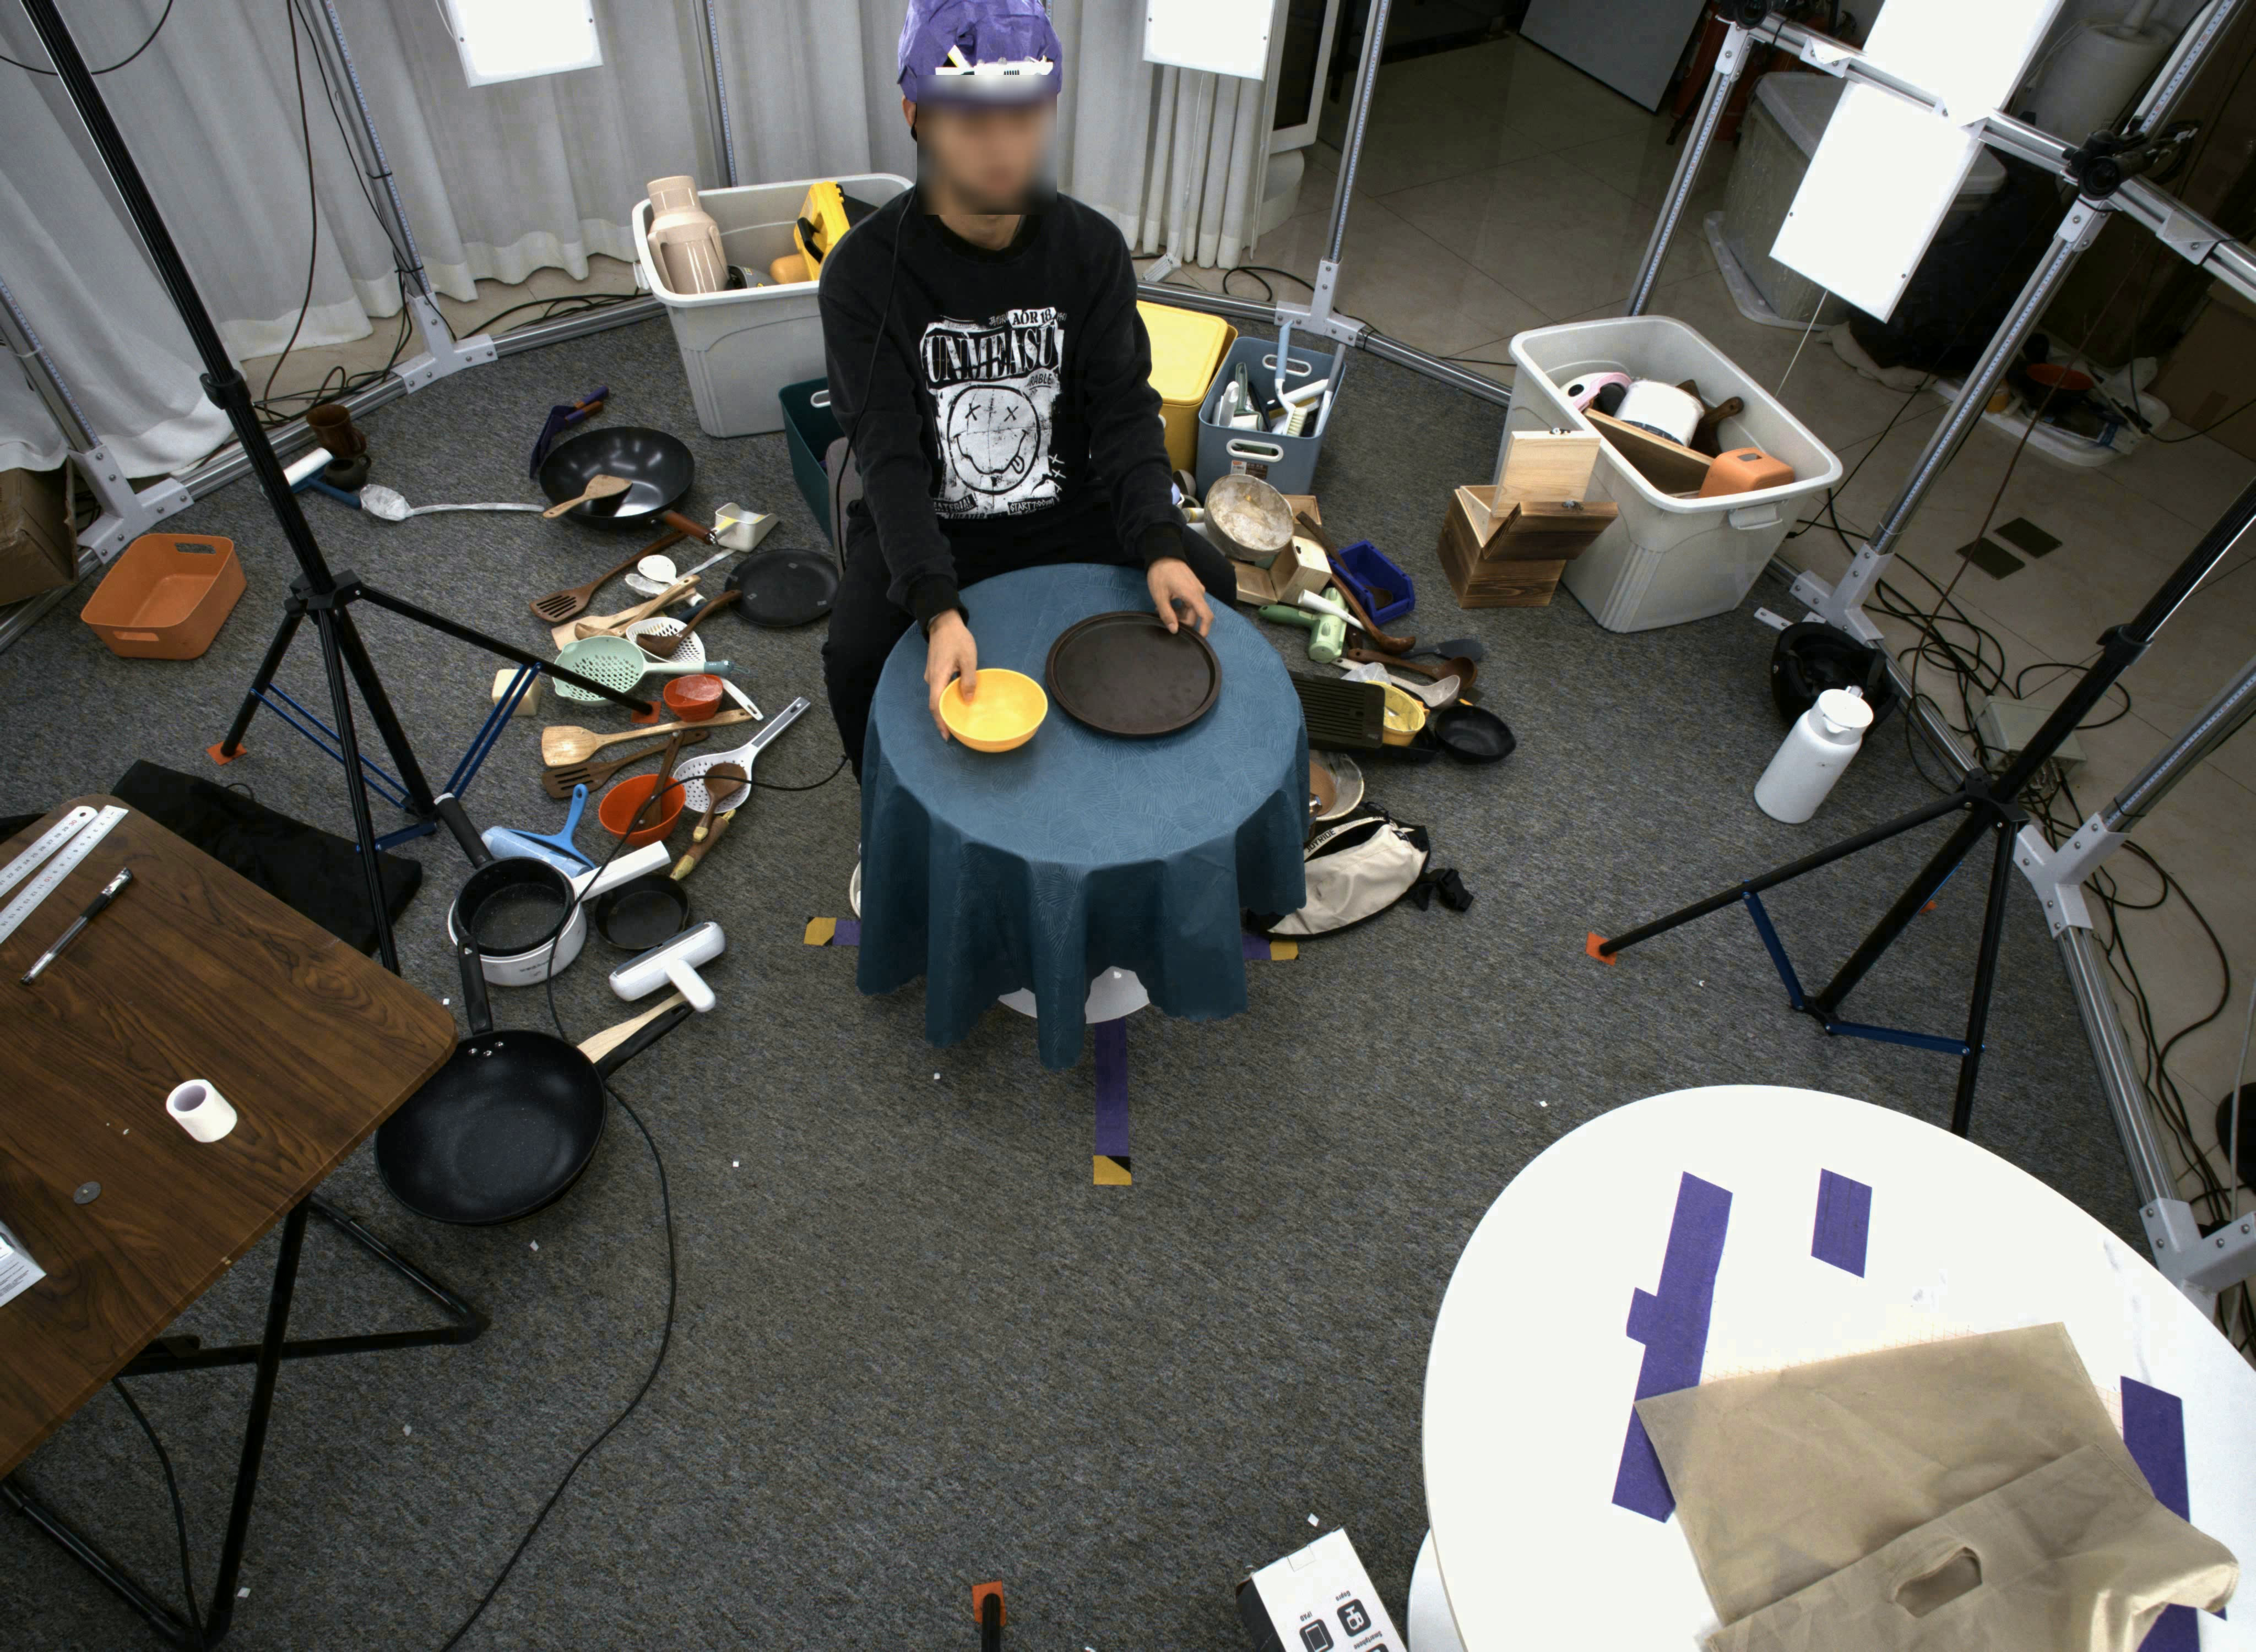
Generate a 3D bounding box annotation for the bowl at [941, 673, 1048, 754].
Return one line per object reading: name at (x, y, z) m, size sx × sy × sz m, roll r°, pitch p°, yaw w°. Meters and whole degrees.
bowl at (-0.182, -0.142, 1.758) m, size 0.145 × 0.058 × 0.149 m, roll 2°, pitch 43°, yaw -2°

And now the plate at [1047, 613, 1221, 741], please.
plate at (0.009, -0.217, 1.859) m, size 0.254 × 0.028 × 0.261 m, roll 0°, pitch 49°, yaw -1°
